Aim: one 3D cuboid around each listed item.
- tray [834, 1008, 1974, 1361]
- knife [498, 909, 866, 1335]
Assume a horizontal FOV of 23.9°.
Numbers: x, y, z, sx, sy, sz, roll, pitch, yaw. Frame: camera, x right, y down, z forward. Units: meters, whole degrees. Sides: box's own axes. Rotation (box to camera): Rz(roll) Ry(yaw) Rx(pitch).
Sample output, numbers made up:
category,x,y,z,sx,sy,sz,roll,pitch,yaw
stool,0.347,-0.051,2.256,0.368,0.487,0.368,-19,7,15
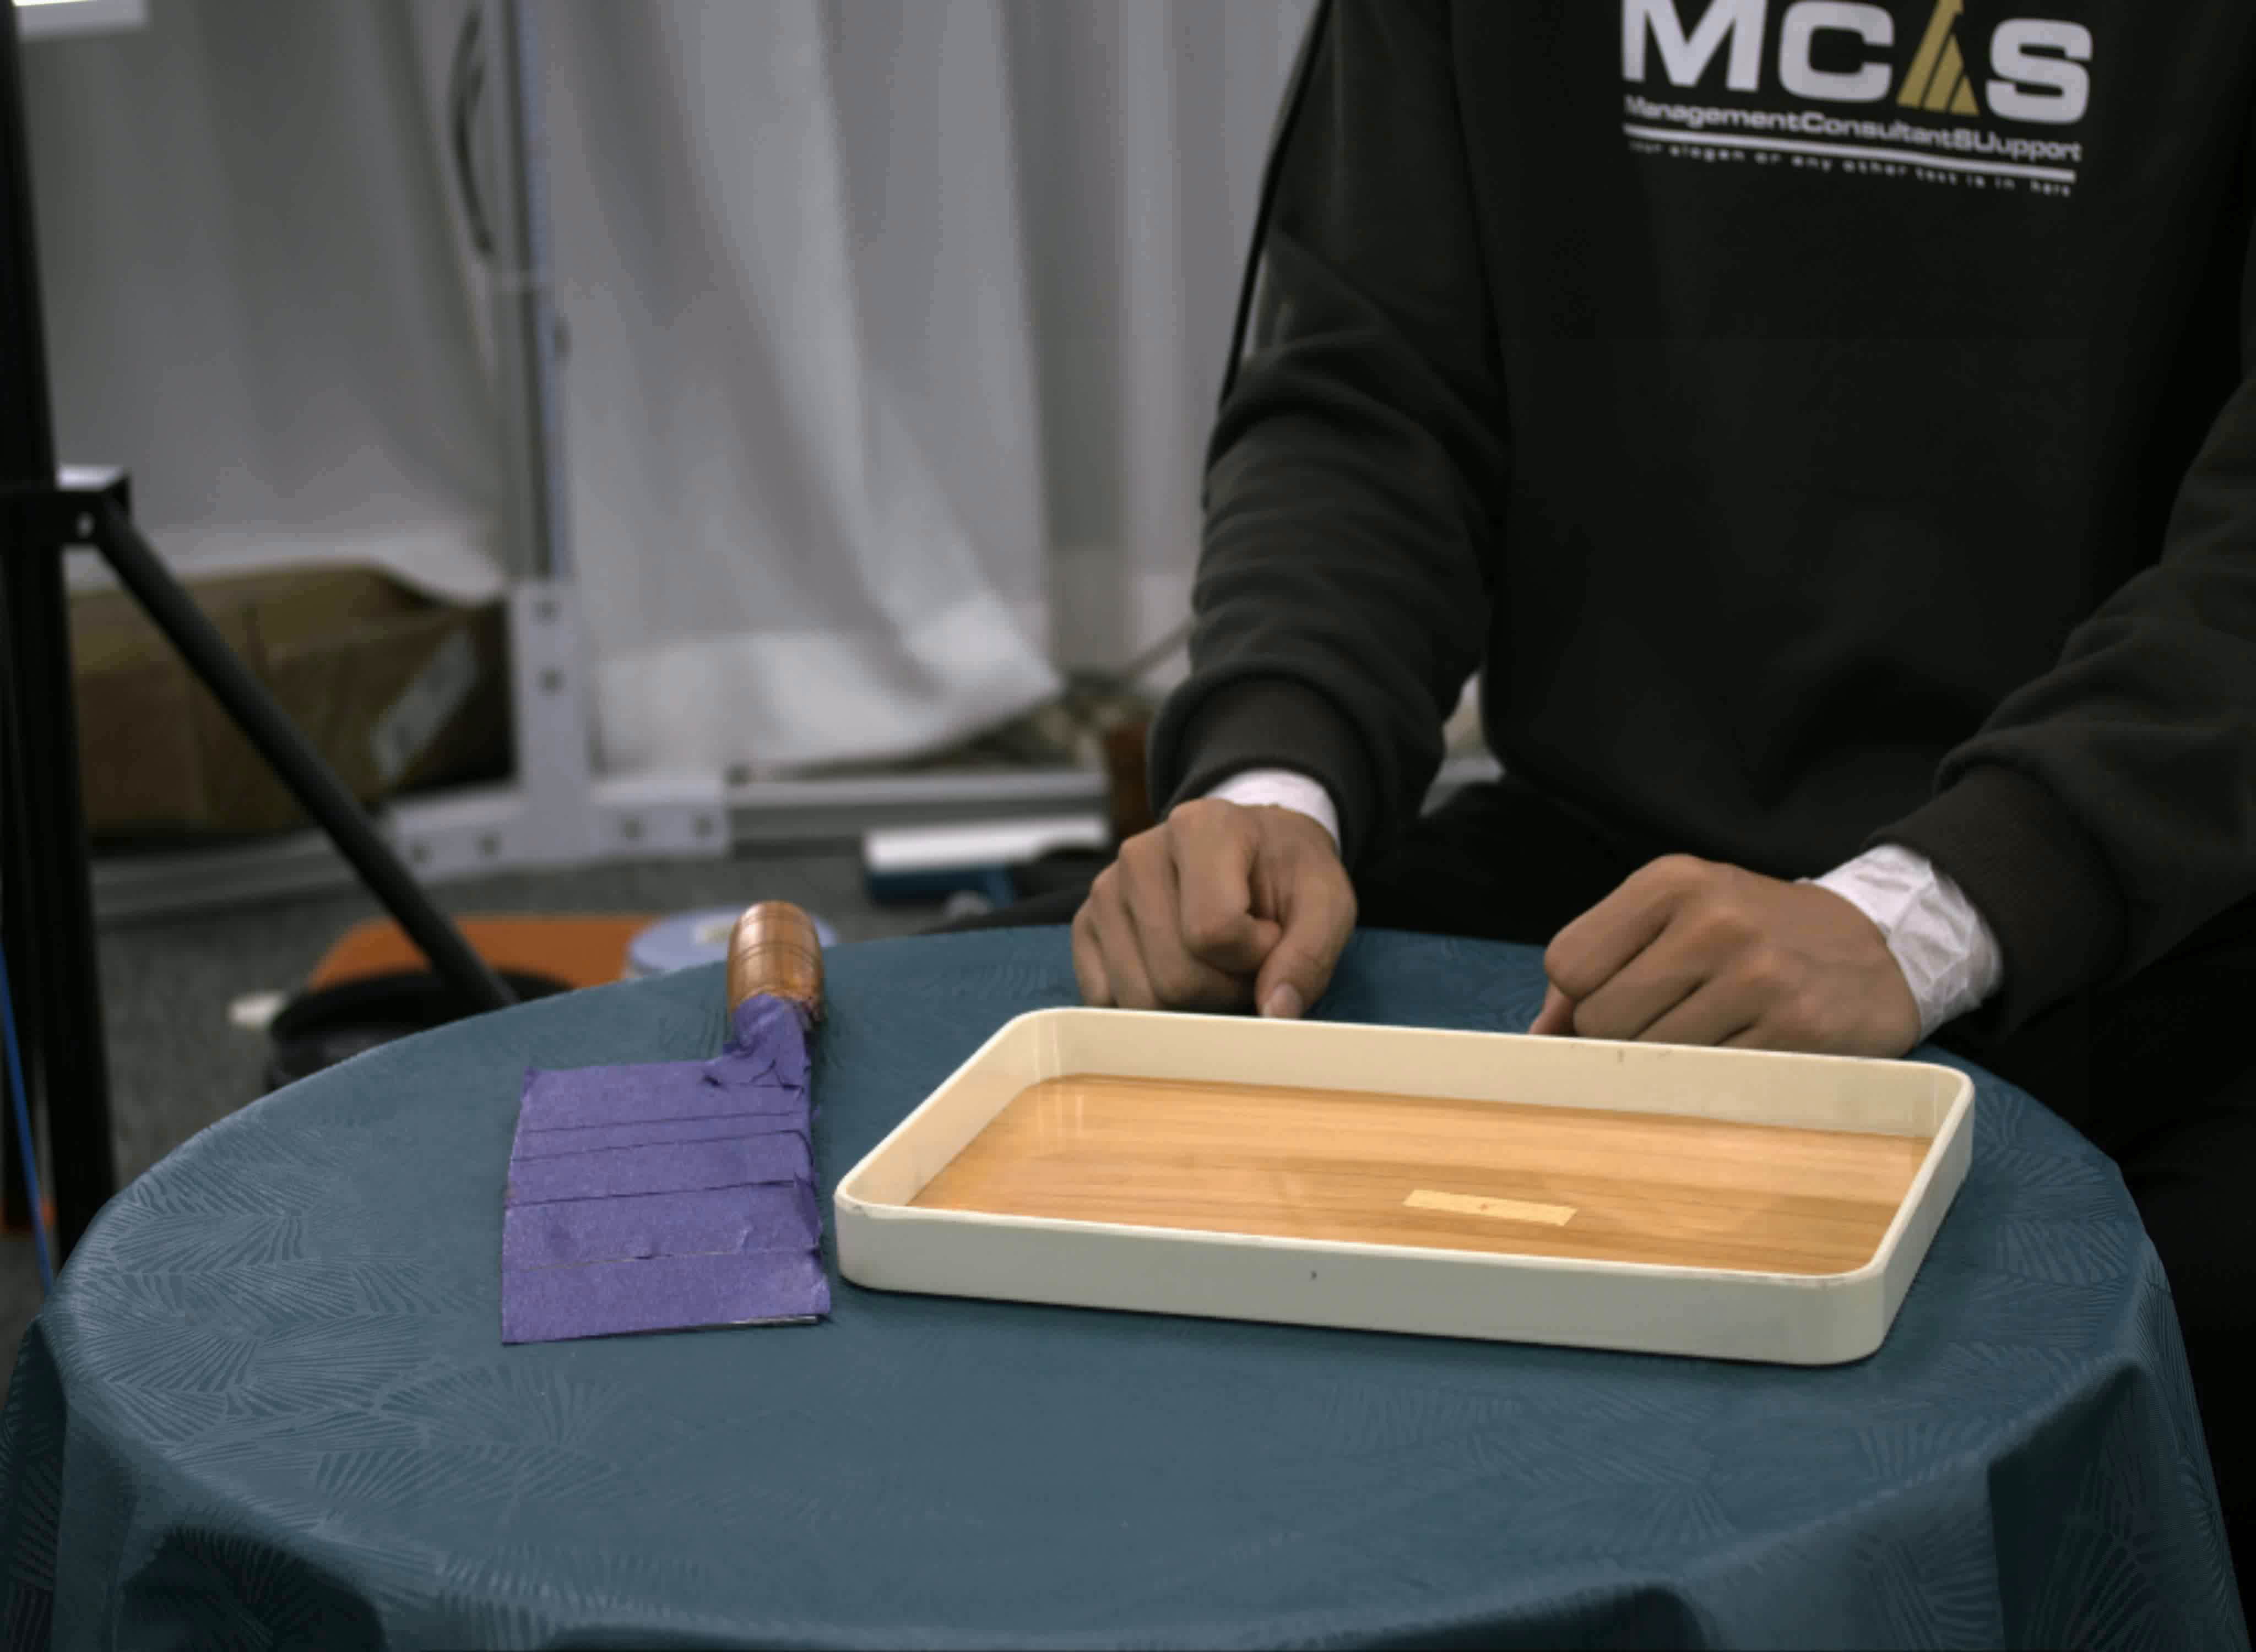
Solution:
category,x,y,z,sx,sy,sz,roll,pitch,yaw
tray,0.083,0.101,1.526,0.303,0.027,0.189,3,16,19
knife,-0.137,0.086,1.611,0.103,0.032,0.317,-3,16,-4
